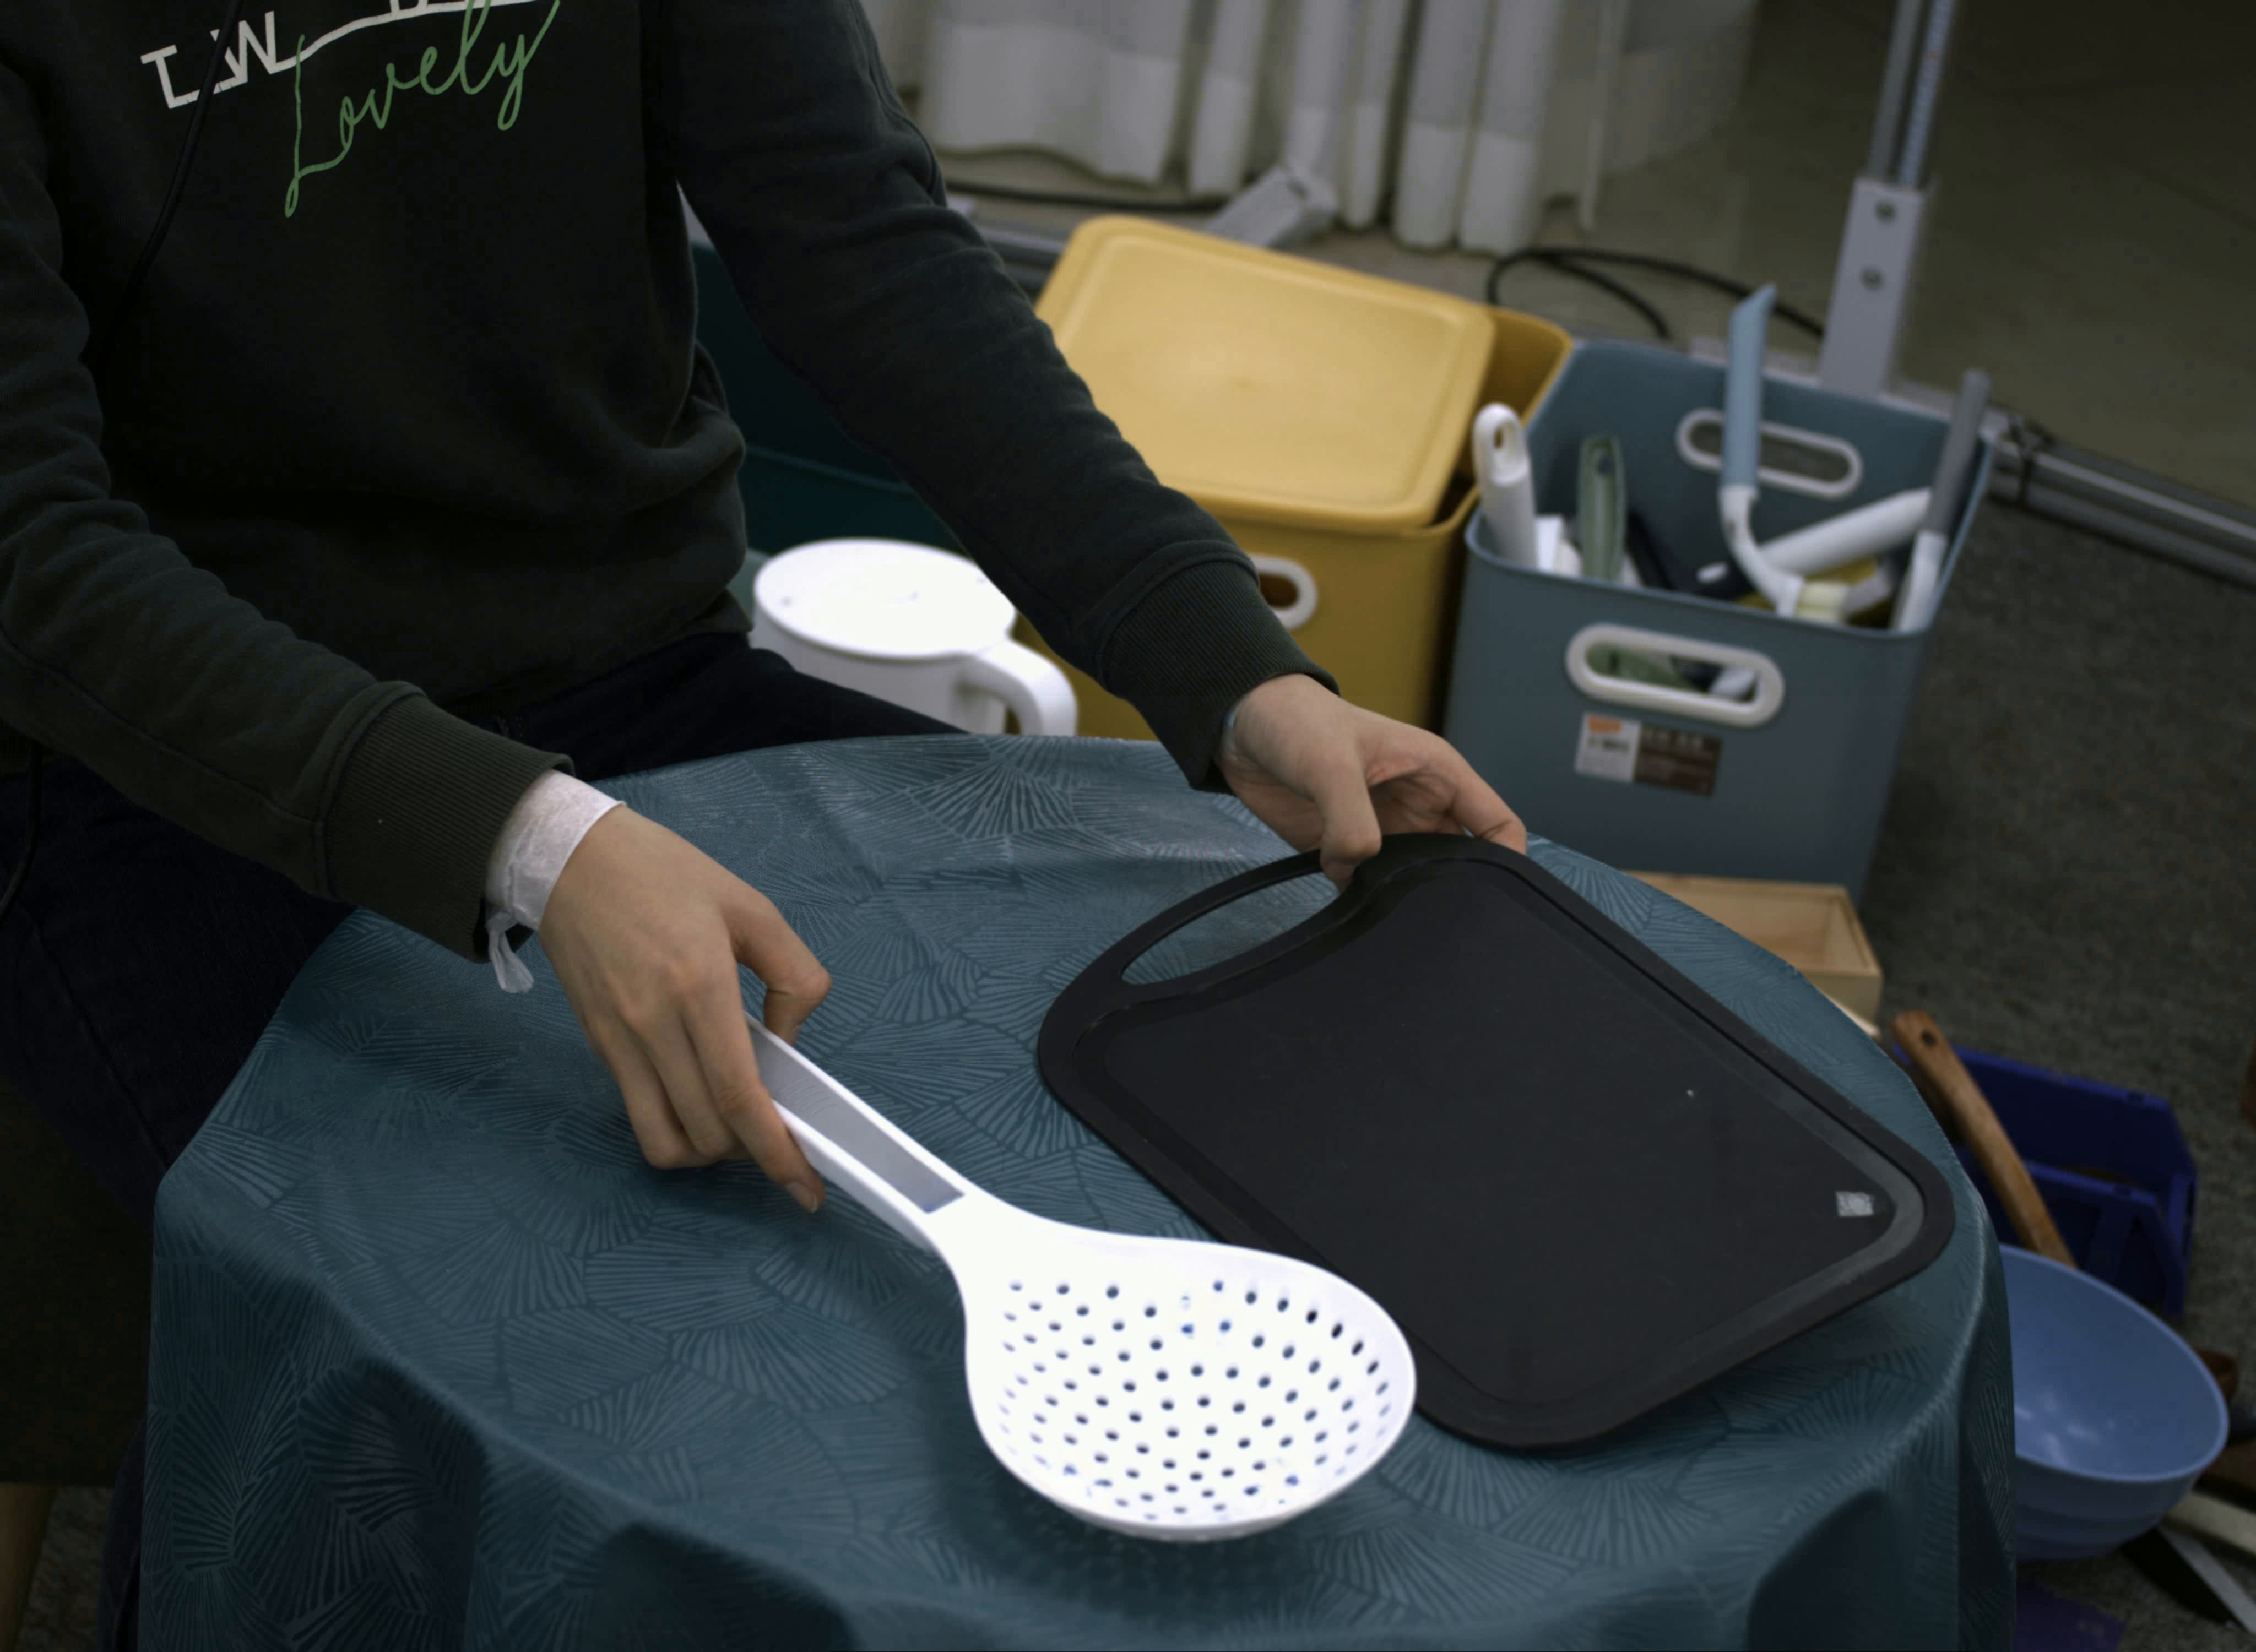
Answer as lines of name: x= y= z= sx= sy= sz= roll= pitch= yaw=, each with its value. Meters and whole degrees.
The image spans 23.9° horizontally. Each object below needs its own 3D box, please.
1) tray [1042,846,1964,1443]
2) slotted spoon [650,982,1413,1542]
tray: x=0.117 y=0.097 z=1.820 sx=0.210 sy=0.010 sz=0.328 roll=-23 pitch=38 yaw=-25
slotted spoon: x=-0.047 y=0.132 z=1.701 sx=0.135 sy=0.045 sz=0.353 roll=-23 pitch=42 yaw=-31
